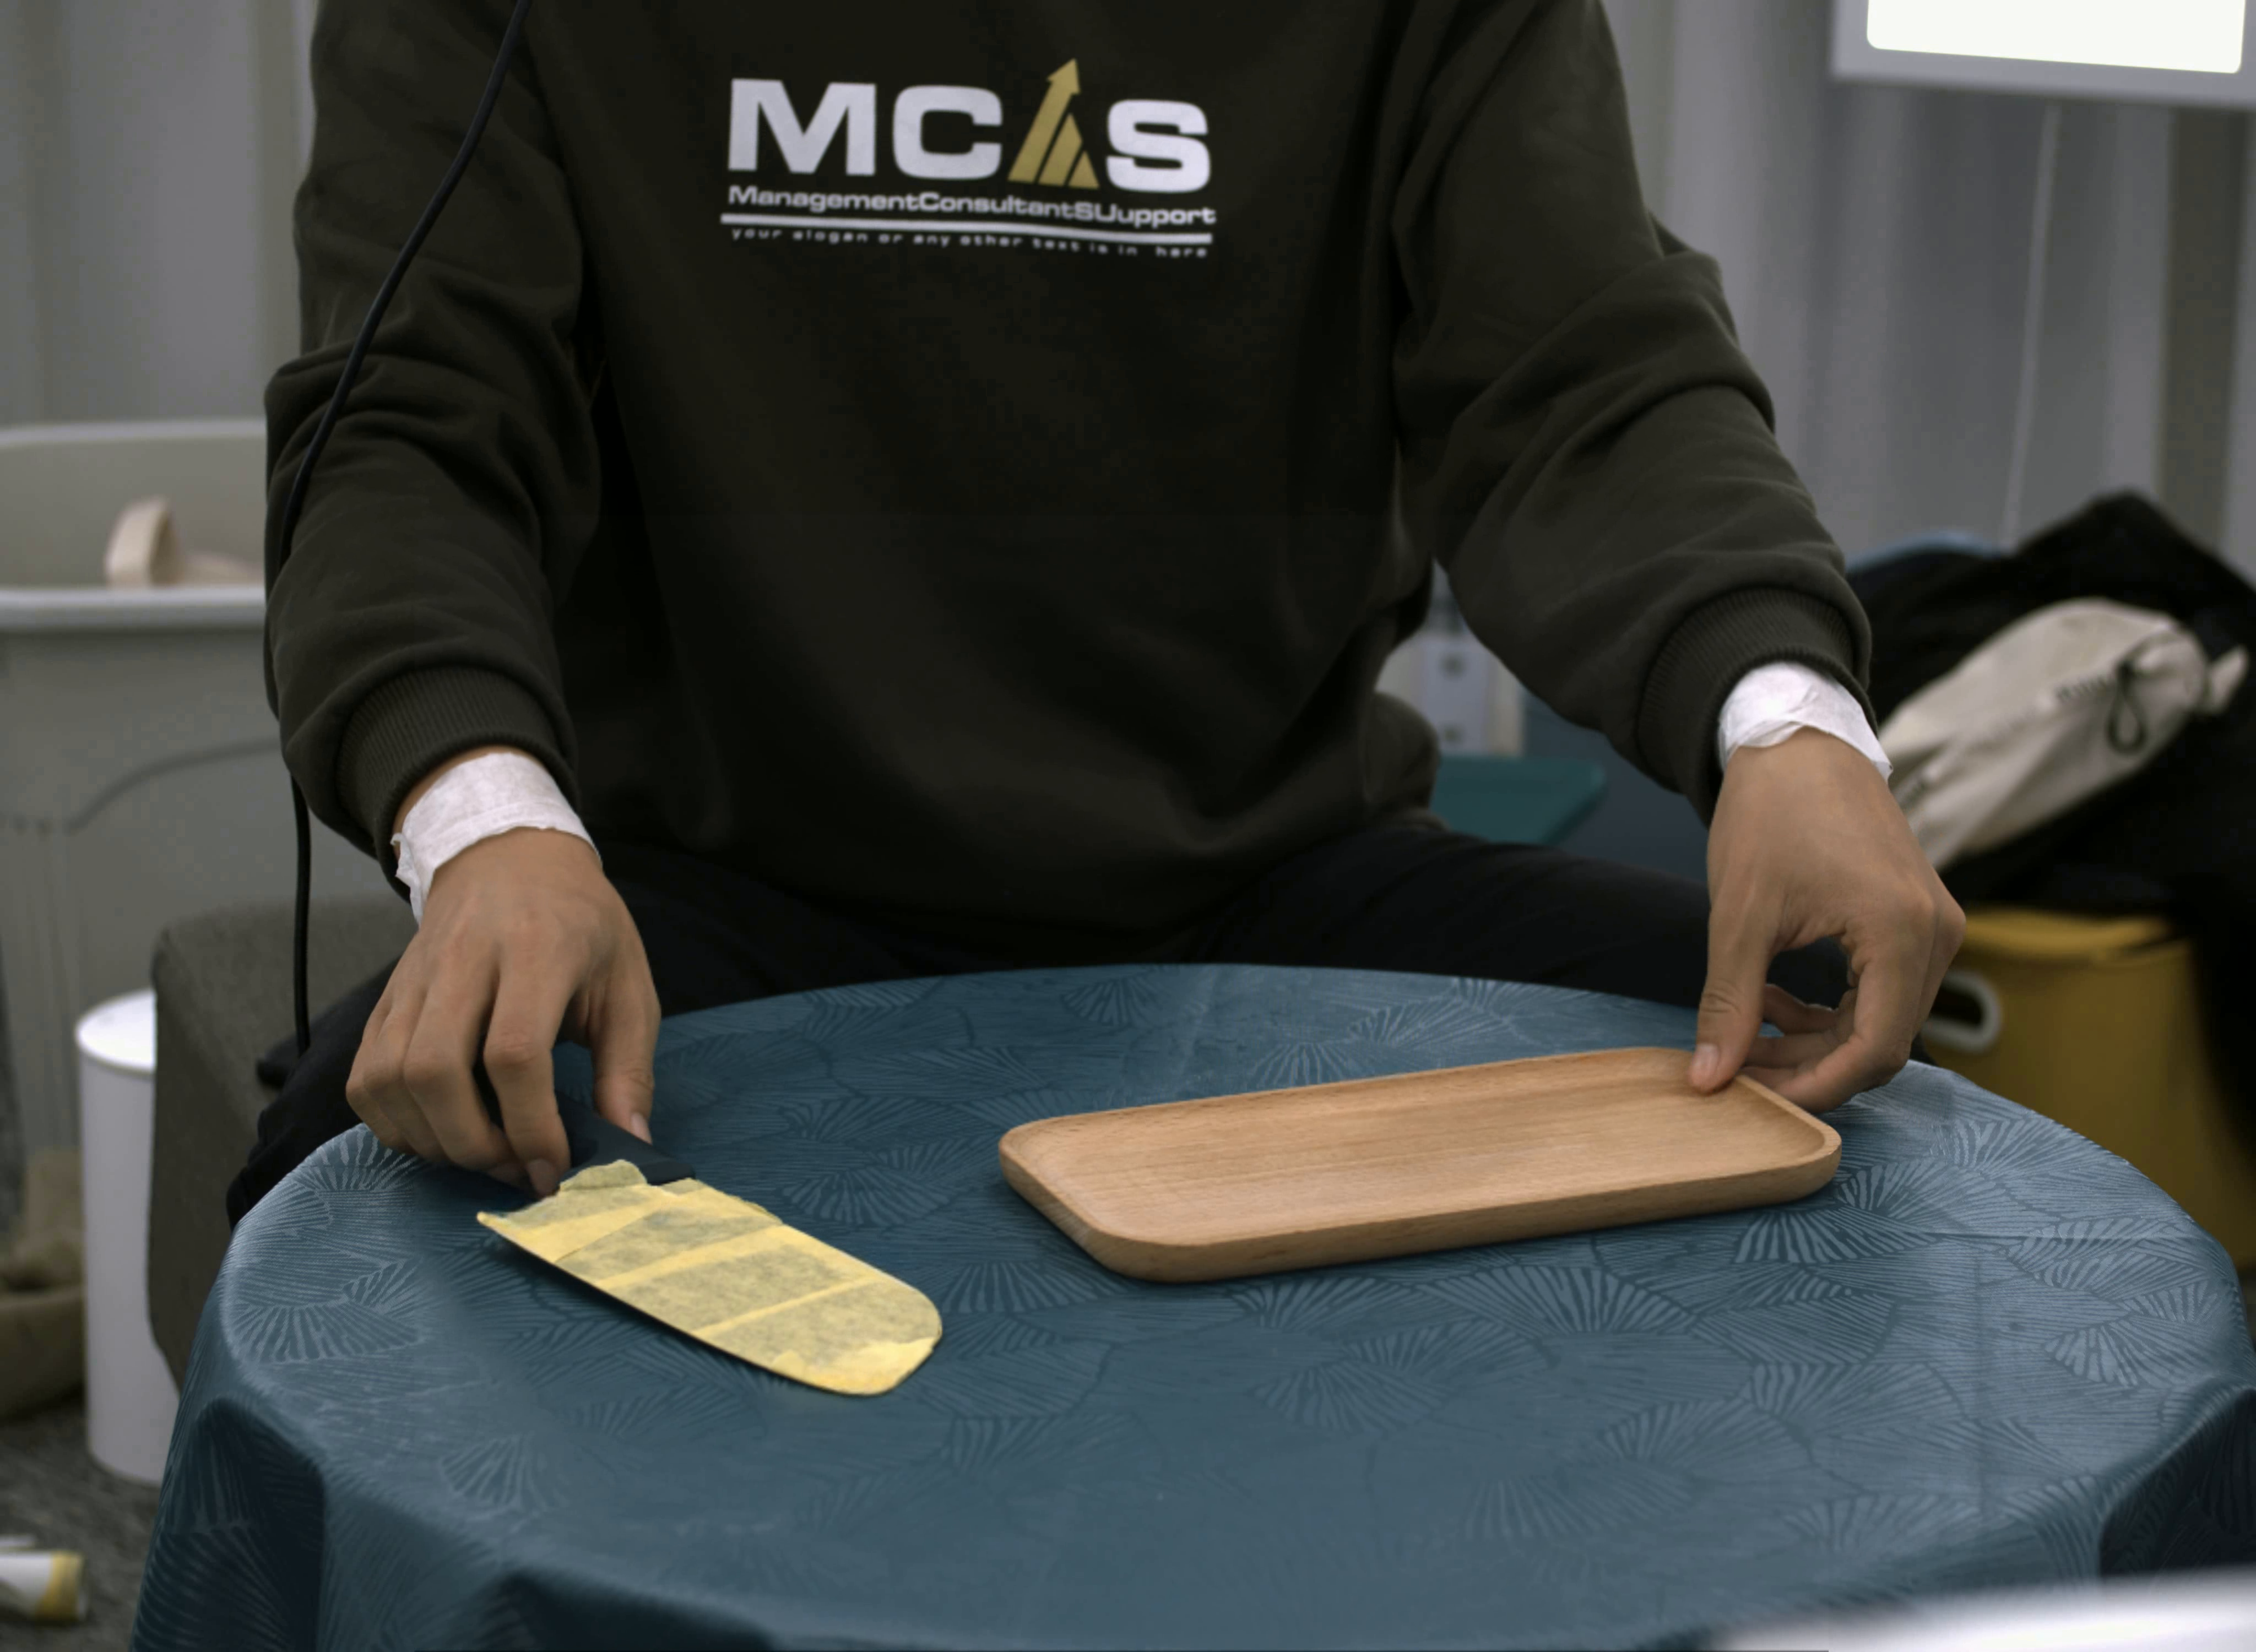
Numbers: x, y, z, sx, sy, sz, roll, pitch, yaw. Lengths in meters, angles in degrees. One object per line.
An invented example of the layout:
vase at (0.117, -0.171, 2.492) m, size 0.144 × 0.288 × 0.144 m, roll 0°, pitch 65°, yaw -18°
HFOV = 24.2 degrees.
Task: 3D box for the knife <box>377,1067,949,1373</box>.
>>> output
knife at (-0.151, 0.118, 1.570) m, size 0.081 × 0.027 × 0.285 m, roll -9°, pitch 19°, yaw -38°

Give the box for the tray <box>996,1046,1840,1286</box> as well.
tray at (0.090, 0.104, 1.629) m, size 0.251 × 0.023 × 0.129 m, roll -6°, pitch 14°, yaw -22°
